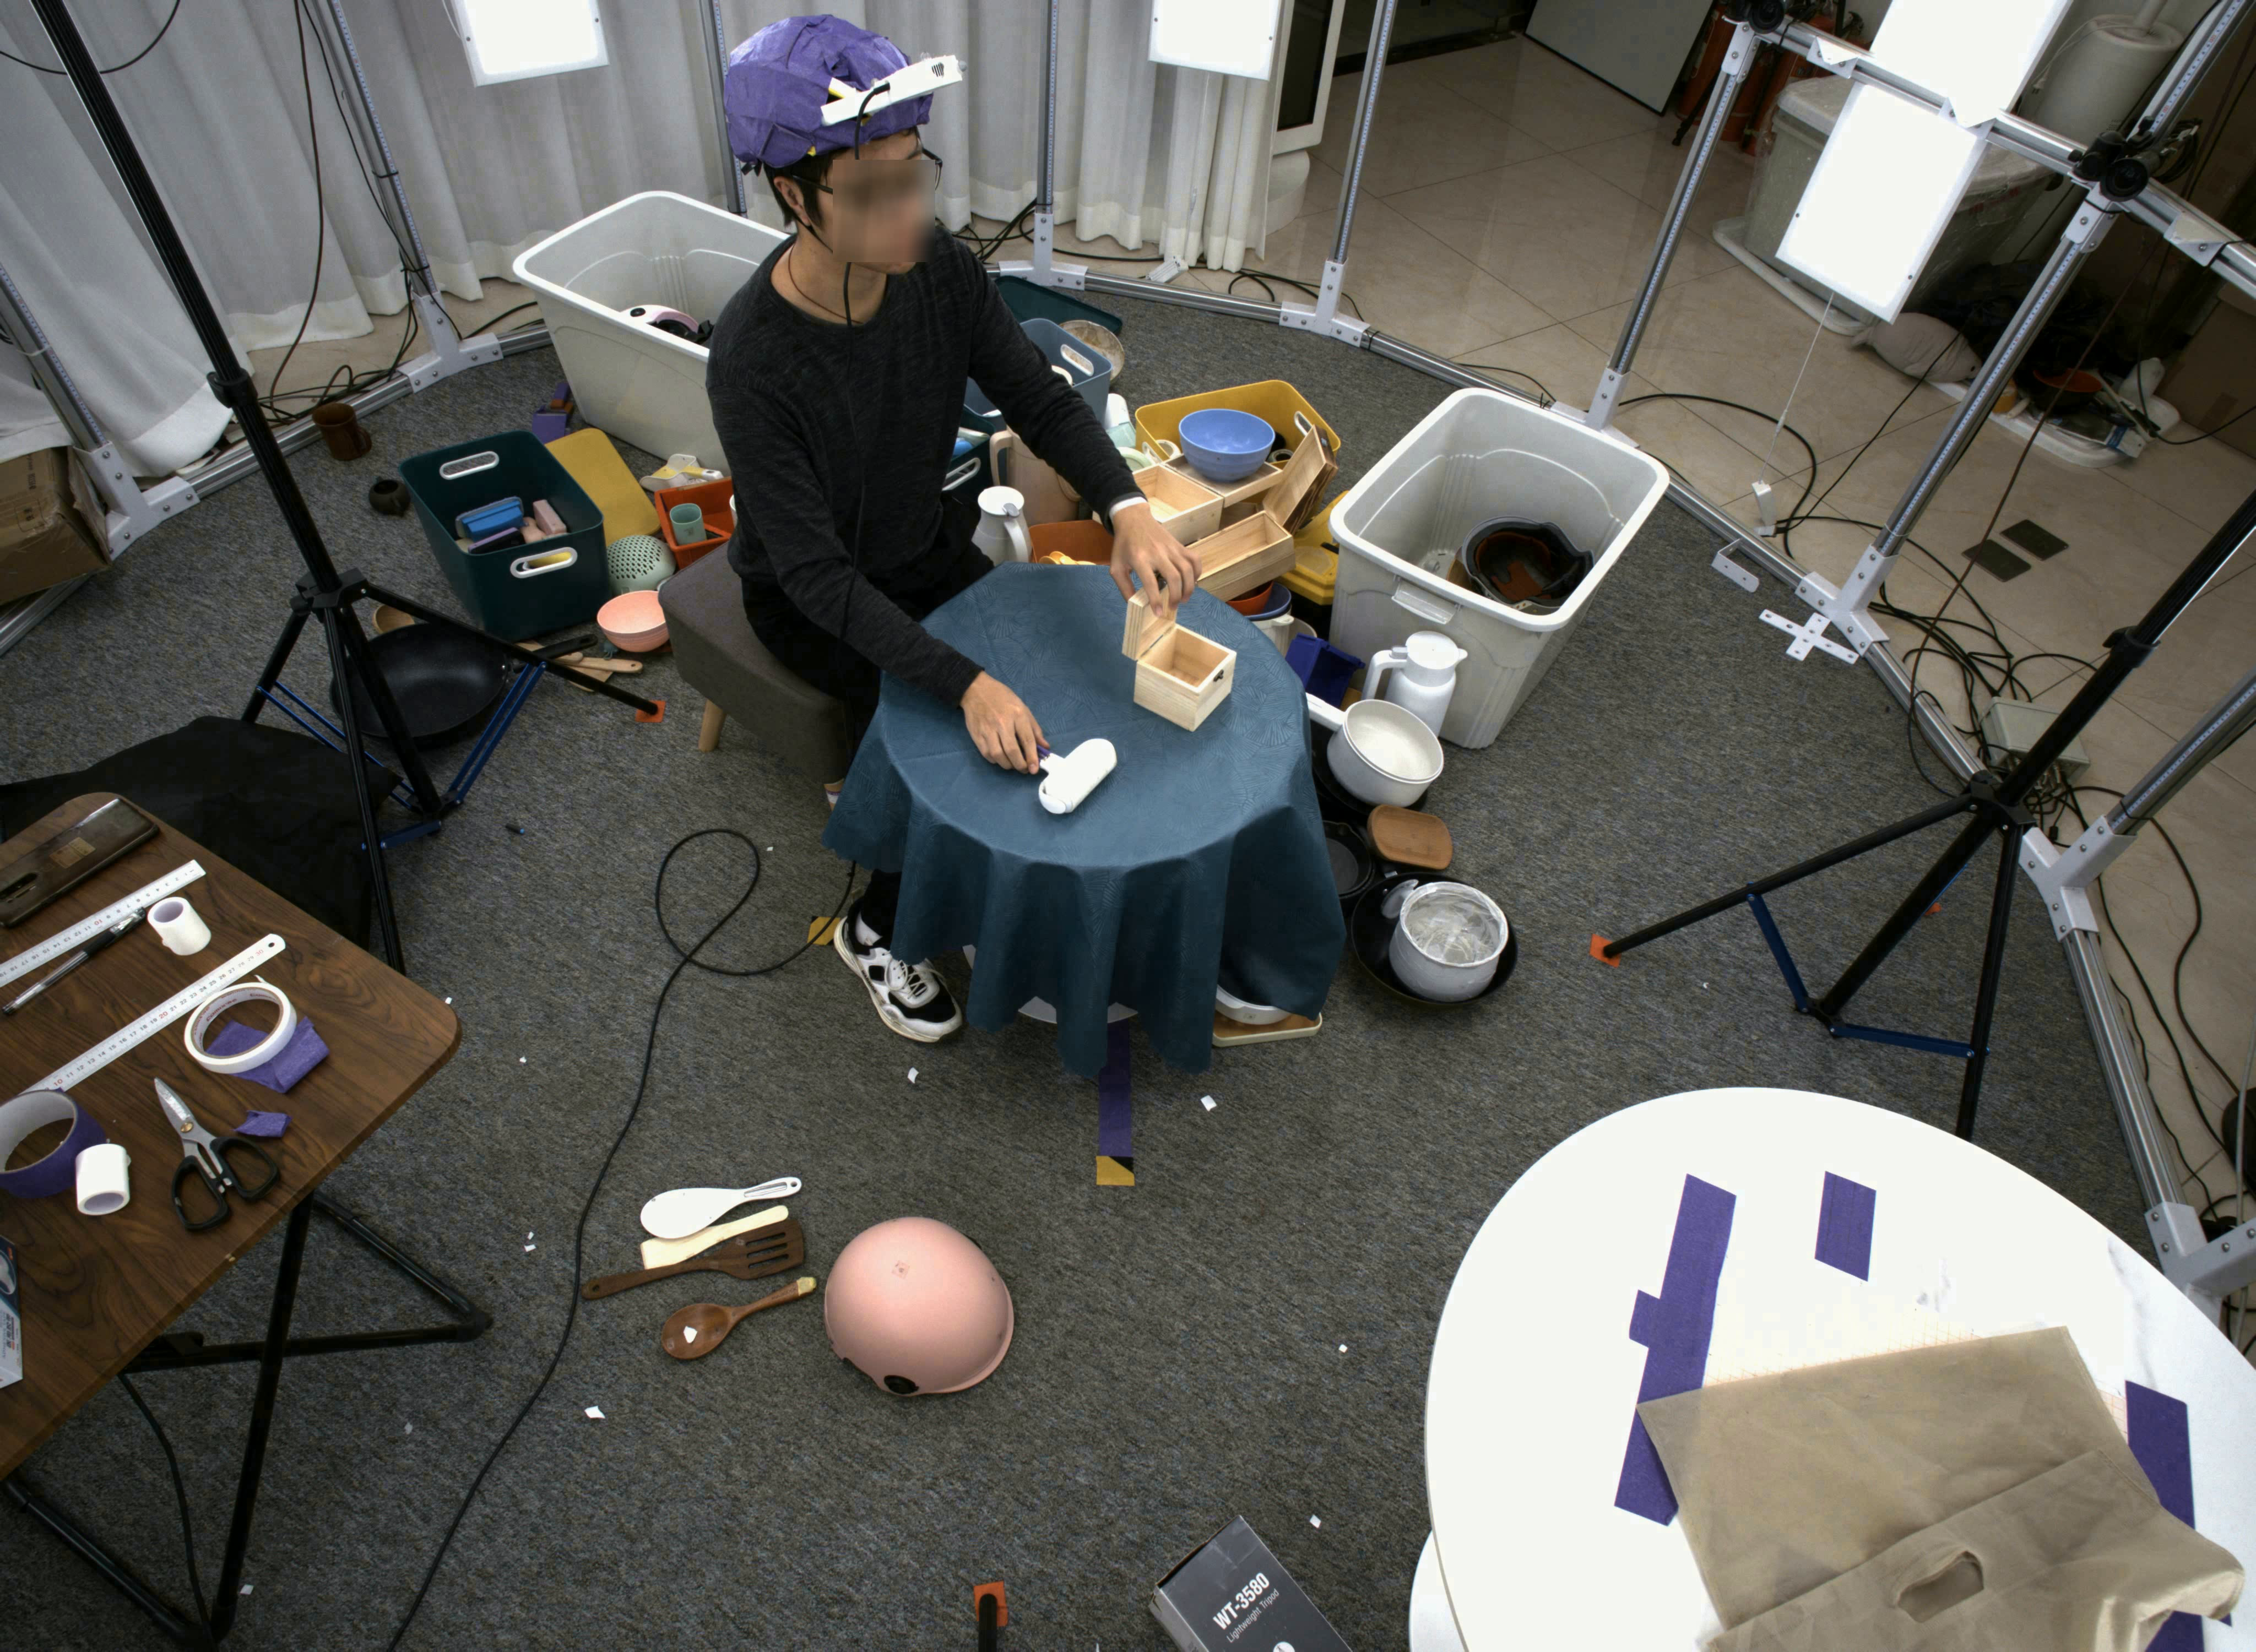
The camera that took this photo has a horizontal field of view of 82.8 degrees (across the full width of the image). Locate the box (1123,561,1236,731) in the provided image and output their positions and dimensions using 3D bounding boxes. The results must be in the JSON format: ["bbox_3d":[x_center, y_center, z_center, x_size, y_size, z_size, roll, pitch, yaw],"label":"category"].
[{"bbox_3d":[0.075,-0.247,1.772,0.135,0.180,0.104,29,53,20],"label":"box"}]

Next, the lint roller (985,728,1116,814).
[{"bbox_3d":[-0.116,-0.098,1.716,0.183,0.049,0.134,32,55,19],"label":"lint roller"}]
